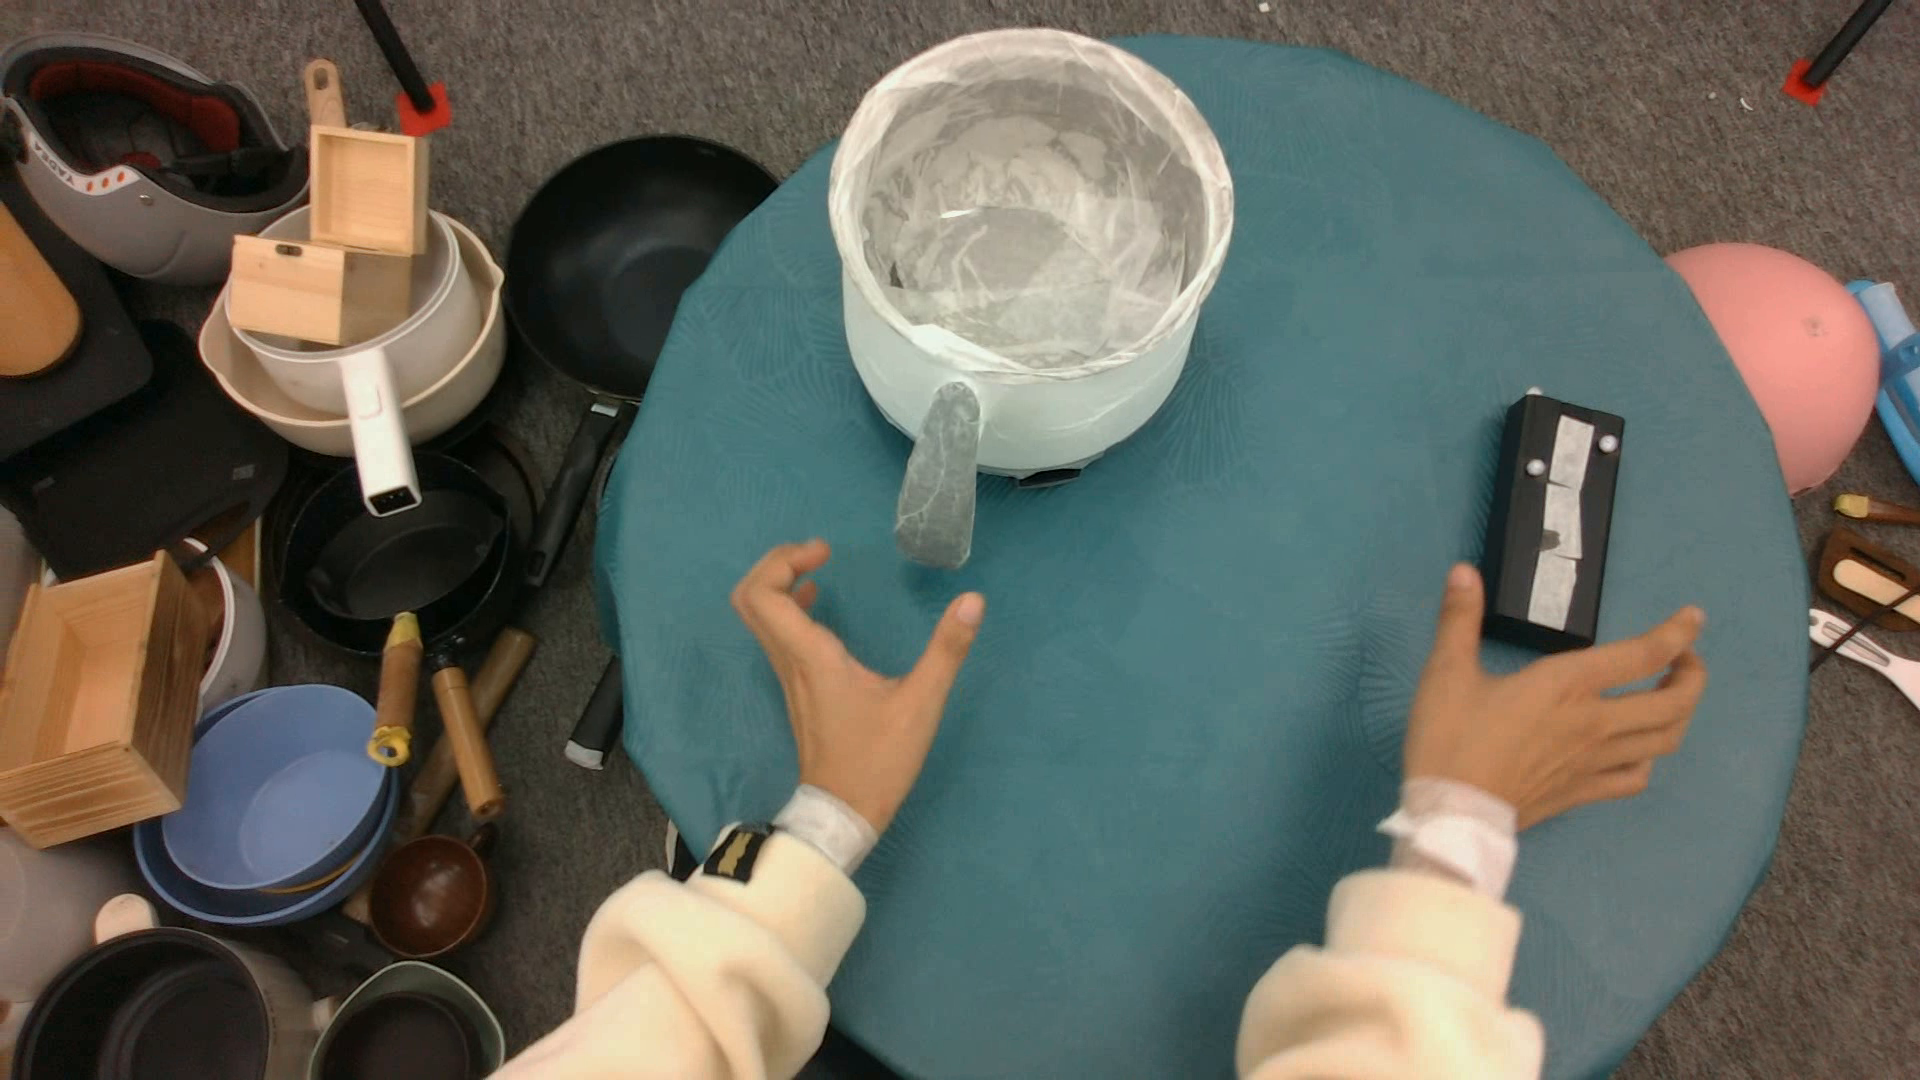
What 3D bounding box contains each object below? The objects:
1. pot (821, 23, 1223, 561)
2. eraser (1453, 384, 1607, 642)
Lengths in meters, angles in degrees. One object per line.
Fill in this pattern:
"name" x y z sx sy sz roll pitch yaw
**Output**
"pot" 0.018 -0.109 0.653 0.178 0.136 0.234 17 70 4
"eraser" 0.285 -0.015 0.689 0.053 0.030 0.126 16 72 4
